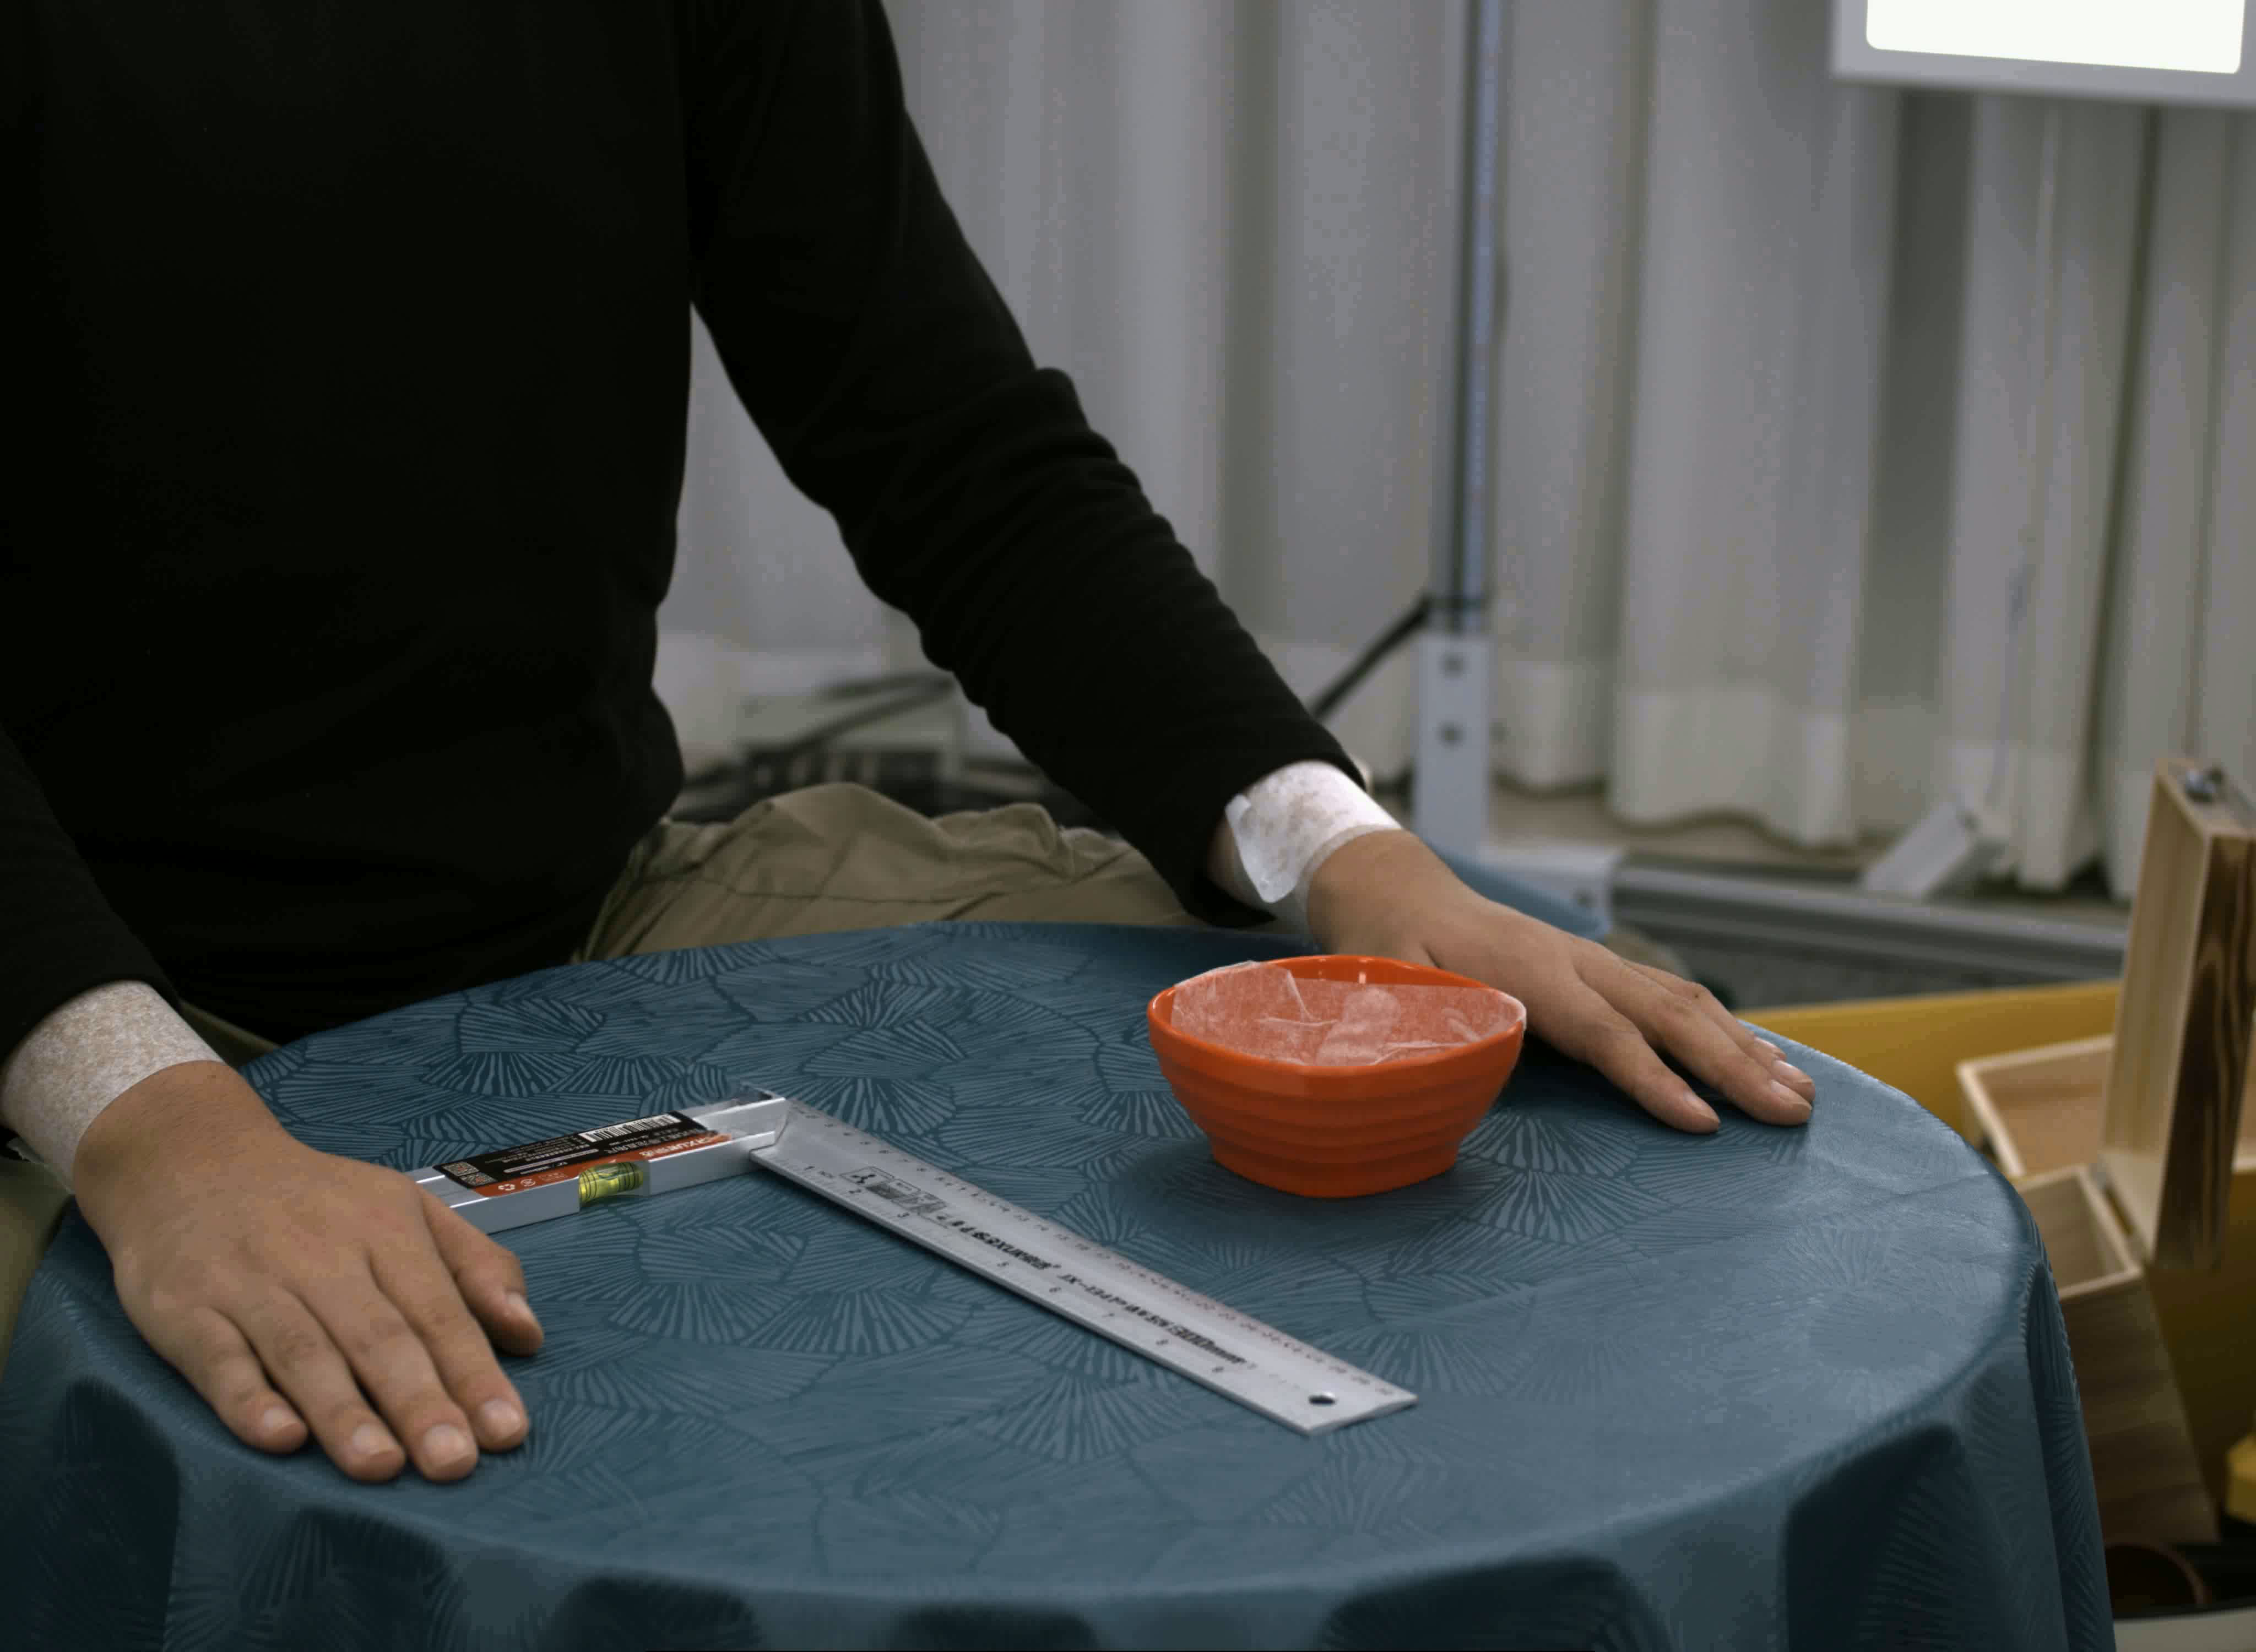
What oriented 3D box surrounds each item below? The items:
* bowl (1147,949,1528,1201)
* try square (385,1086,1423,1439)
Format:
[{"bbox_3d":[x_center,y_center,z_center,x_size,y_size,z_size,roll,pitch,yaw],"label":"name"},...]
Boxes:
[{"bbox_3d":[0.065,0.079,1.643,0.118,0.052,0.118,0,17,1],"label":"bowl"},{"bbox_3d":[-0.072,0.137,1.525,0.153,0.016,0.308,-15,23,-35],"label":"try square"}]
